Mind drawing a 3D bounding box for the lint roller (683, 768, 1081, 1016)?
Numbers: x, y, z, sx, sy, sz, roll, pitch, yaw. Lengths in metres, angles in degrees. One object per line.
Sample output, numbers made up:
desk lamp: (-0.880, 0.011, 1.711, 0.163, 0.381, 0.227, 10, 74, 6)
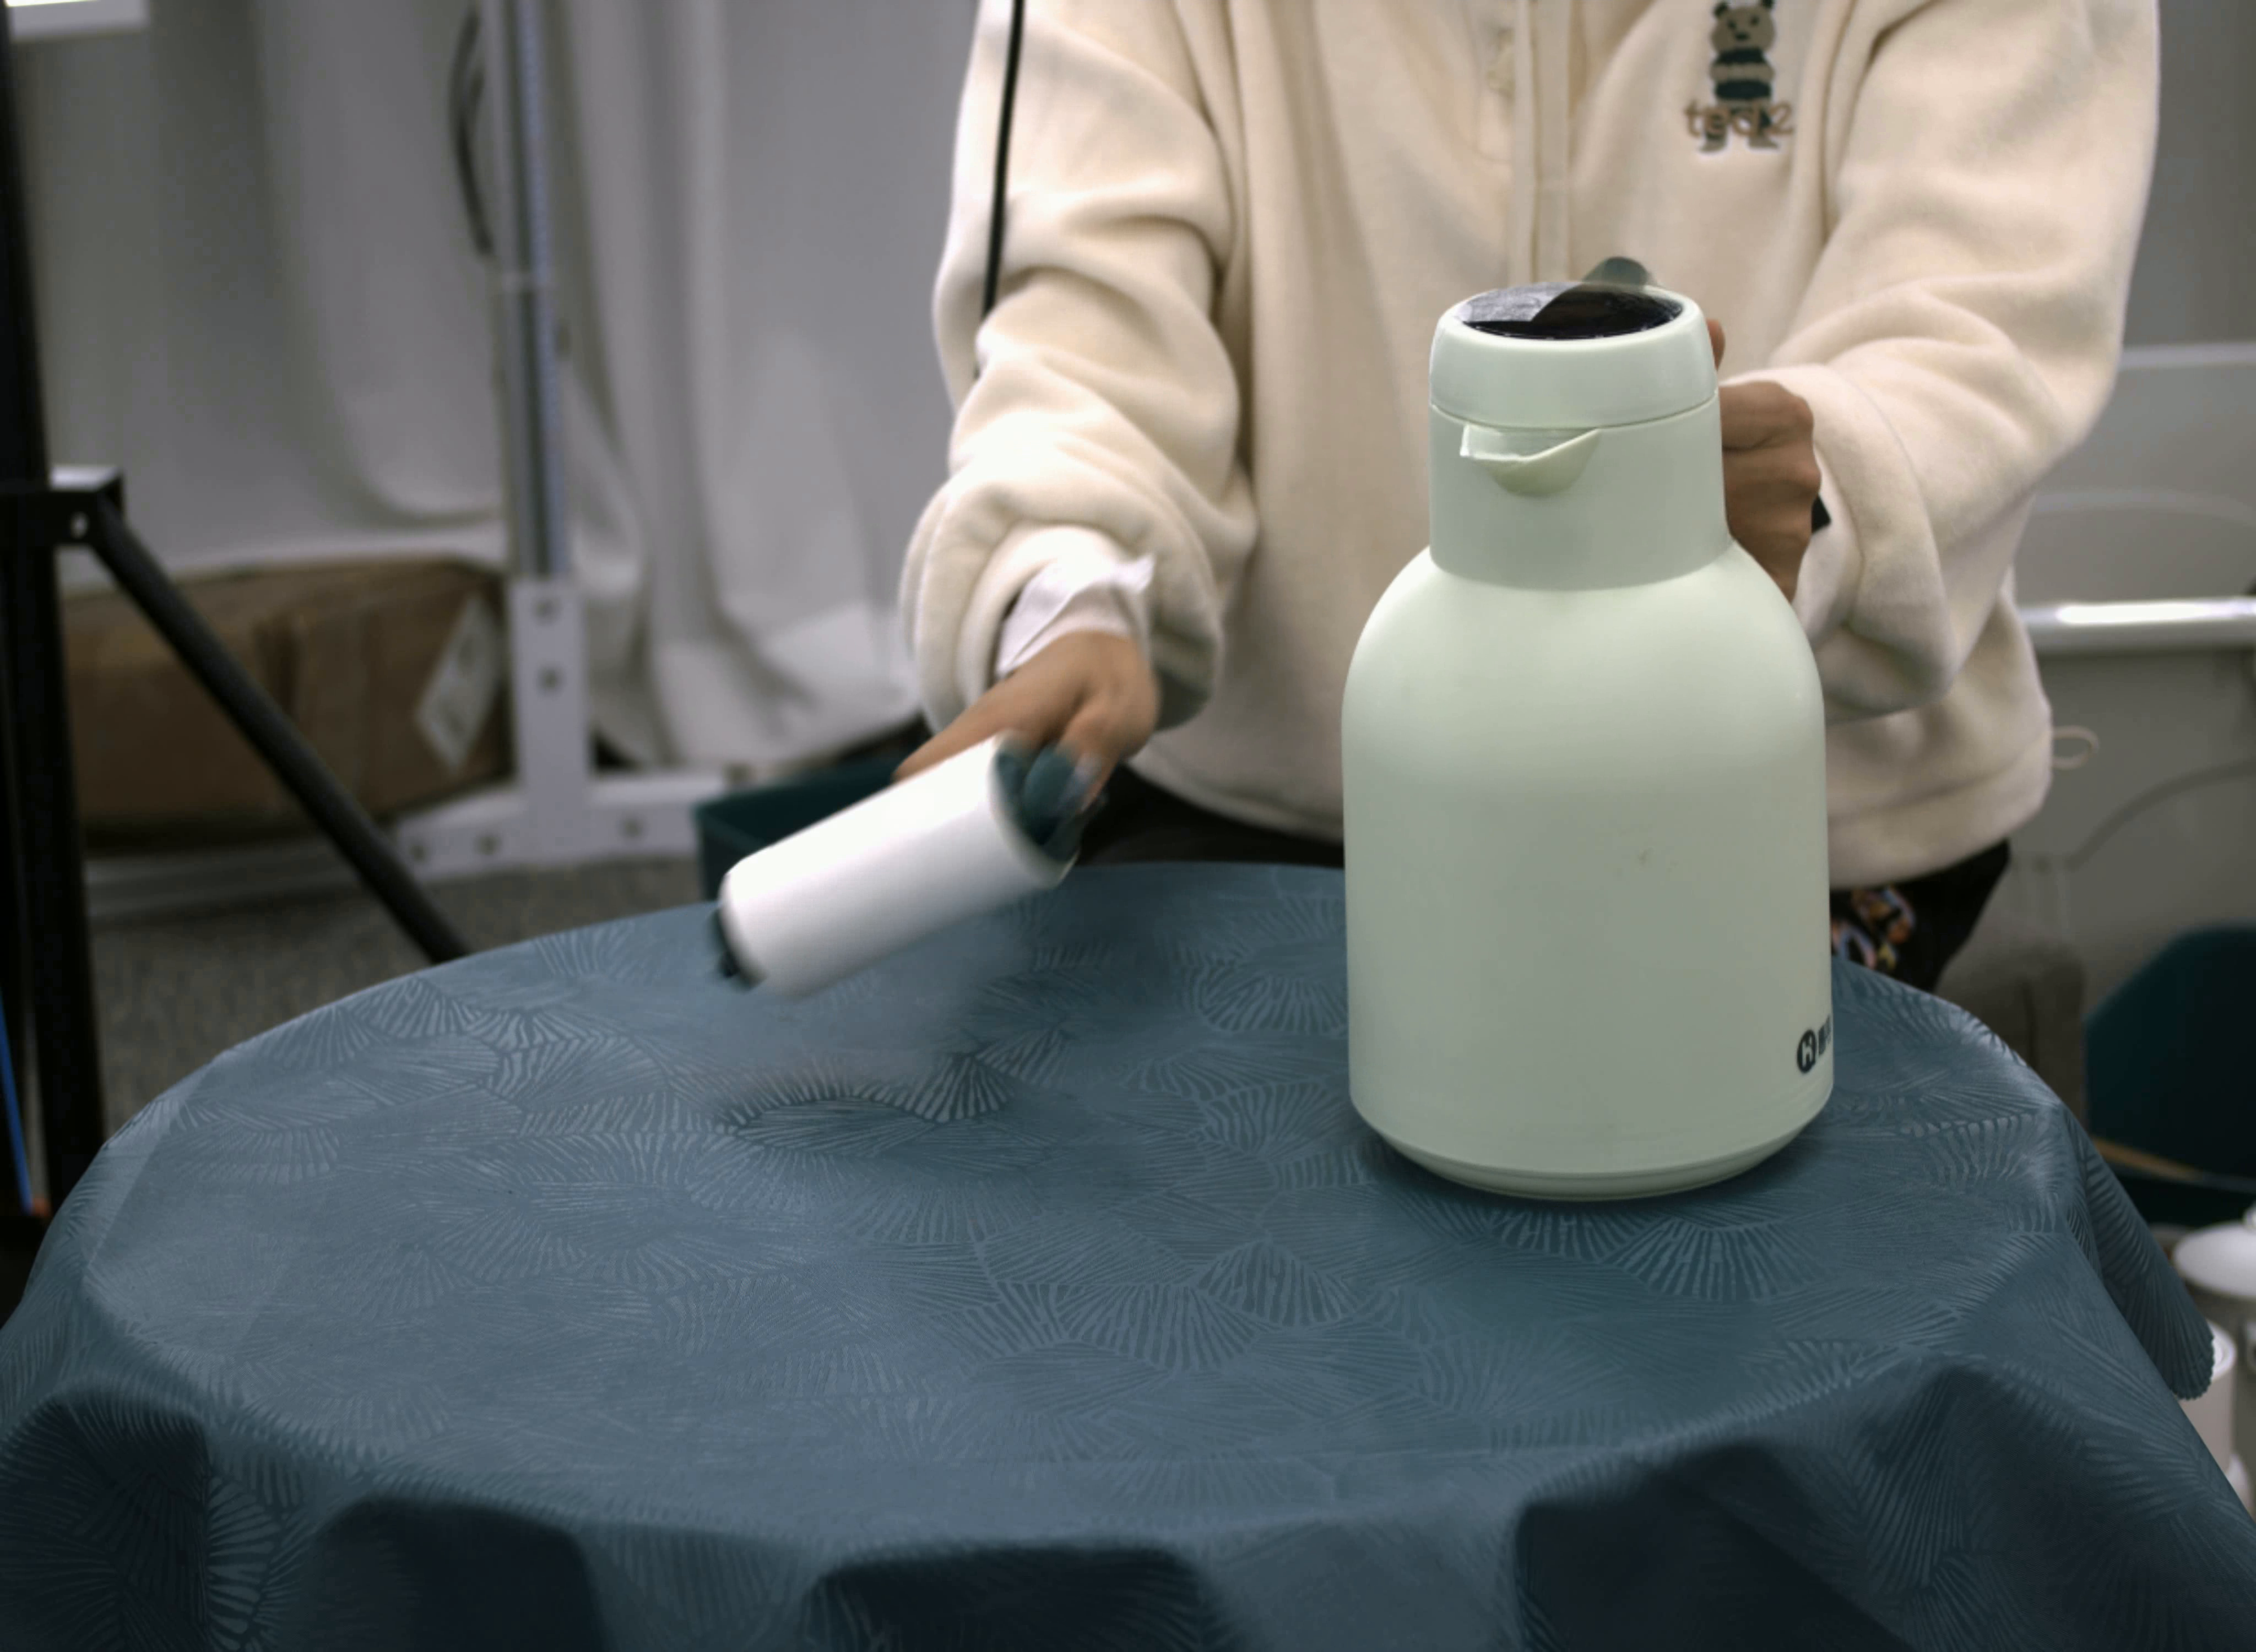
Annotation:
lint roller: (-0.058, -0.002, 1.692, 0.136, 0.048, 0.178, -22, 12, 25)

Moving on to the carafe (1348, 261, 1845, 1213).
carafe: (0.140, -0.030, 1.555, 0.146, 0.257, 0.184, 3, 15, 24)
